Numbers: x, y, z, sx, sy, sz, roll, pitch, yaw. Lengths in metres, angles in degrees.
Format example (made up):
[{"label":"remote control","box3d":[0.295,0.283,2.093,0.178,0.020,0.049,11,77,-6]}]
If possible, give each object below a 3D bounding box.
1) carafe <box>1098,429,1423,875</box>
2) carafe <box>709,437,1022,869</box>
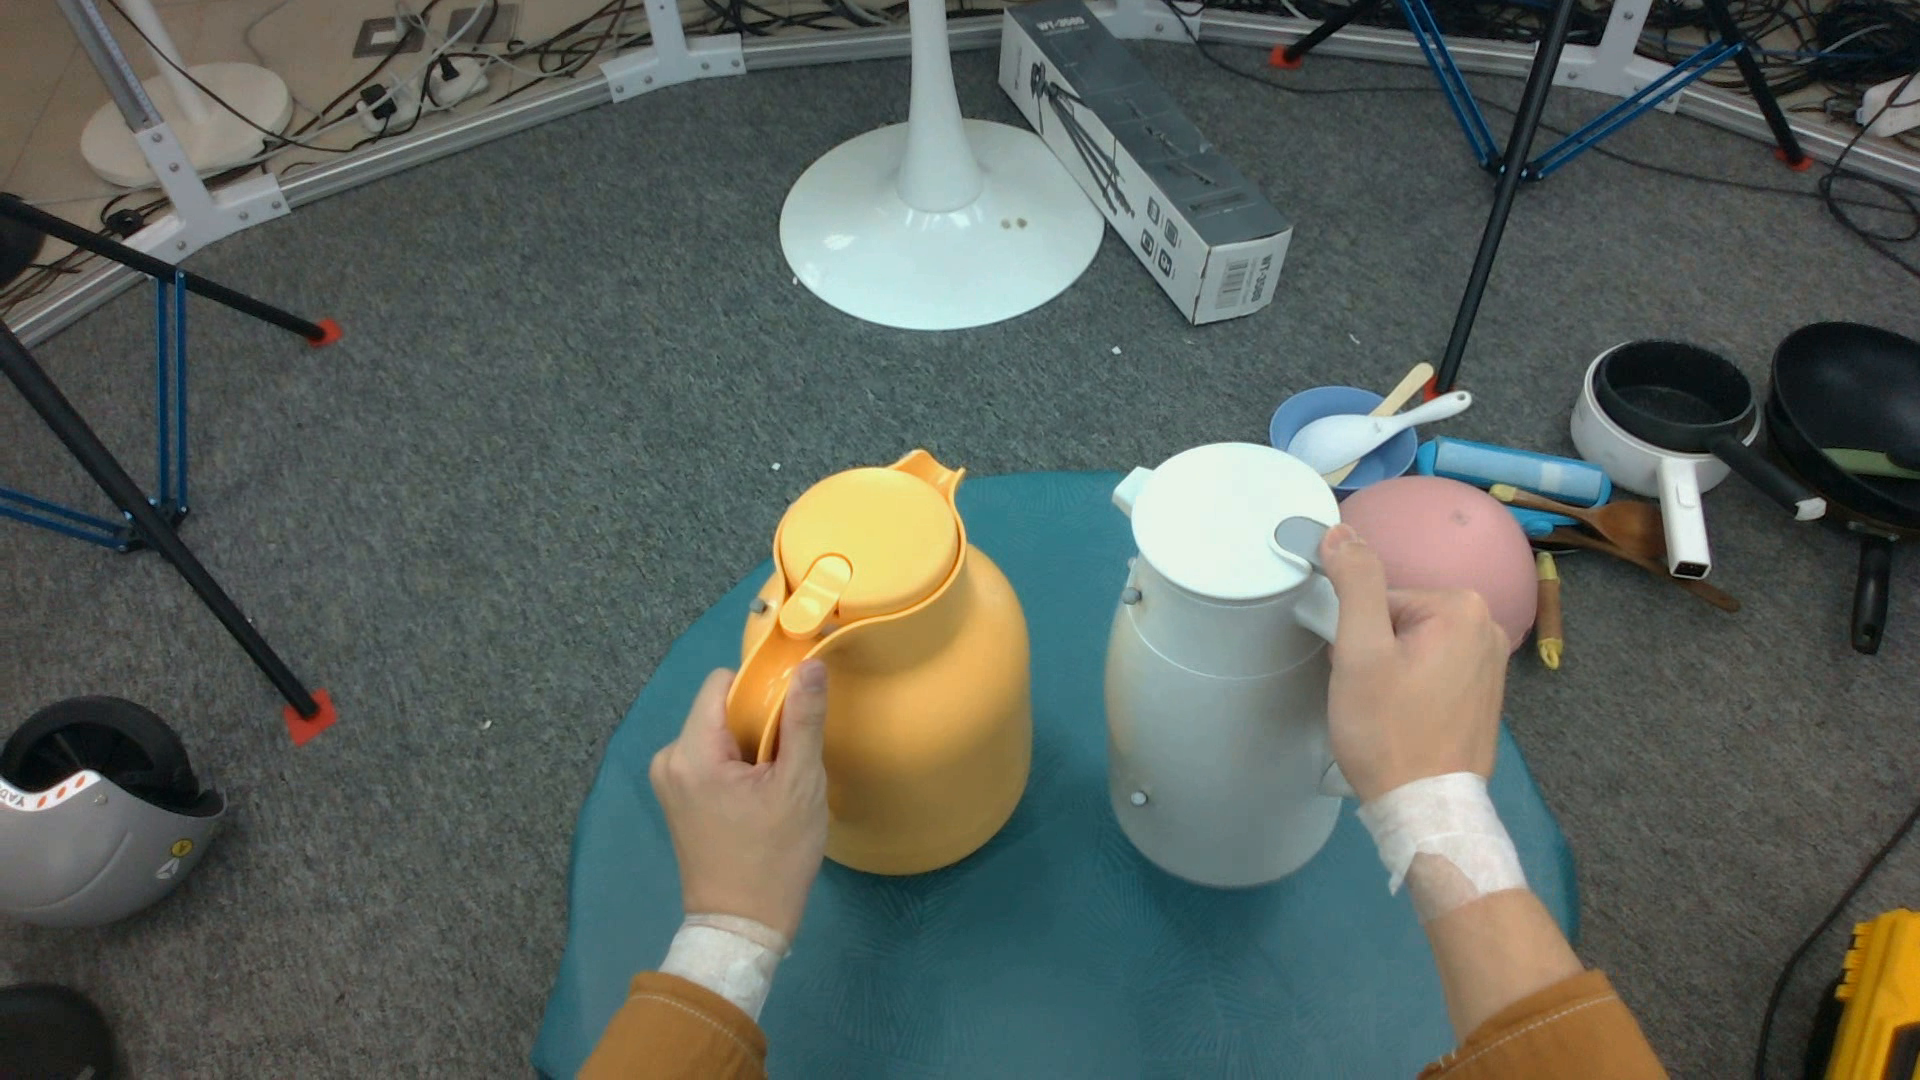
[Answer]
[{"label":"carafe","box3d":[0.149,0.064,0.694,0.168,0.247,0.133,31,61,28]},{"label":"carafe","box3d":[-0.058,0.078,0.766,0.163,0.259,0.203,26,56,22]}]
